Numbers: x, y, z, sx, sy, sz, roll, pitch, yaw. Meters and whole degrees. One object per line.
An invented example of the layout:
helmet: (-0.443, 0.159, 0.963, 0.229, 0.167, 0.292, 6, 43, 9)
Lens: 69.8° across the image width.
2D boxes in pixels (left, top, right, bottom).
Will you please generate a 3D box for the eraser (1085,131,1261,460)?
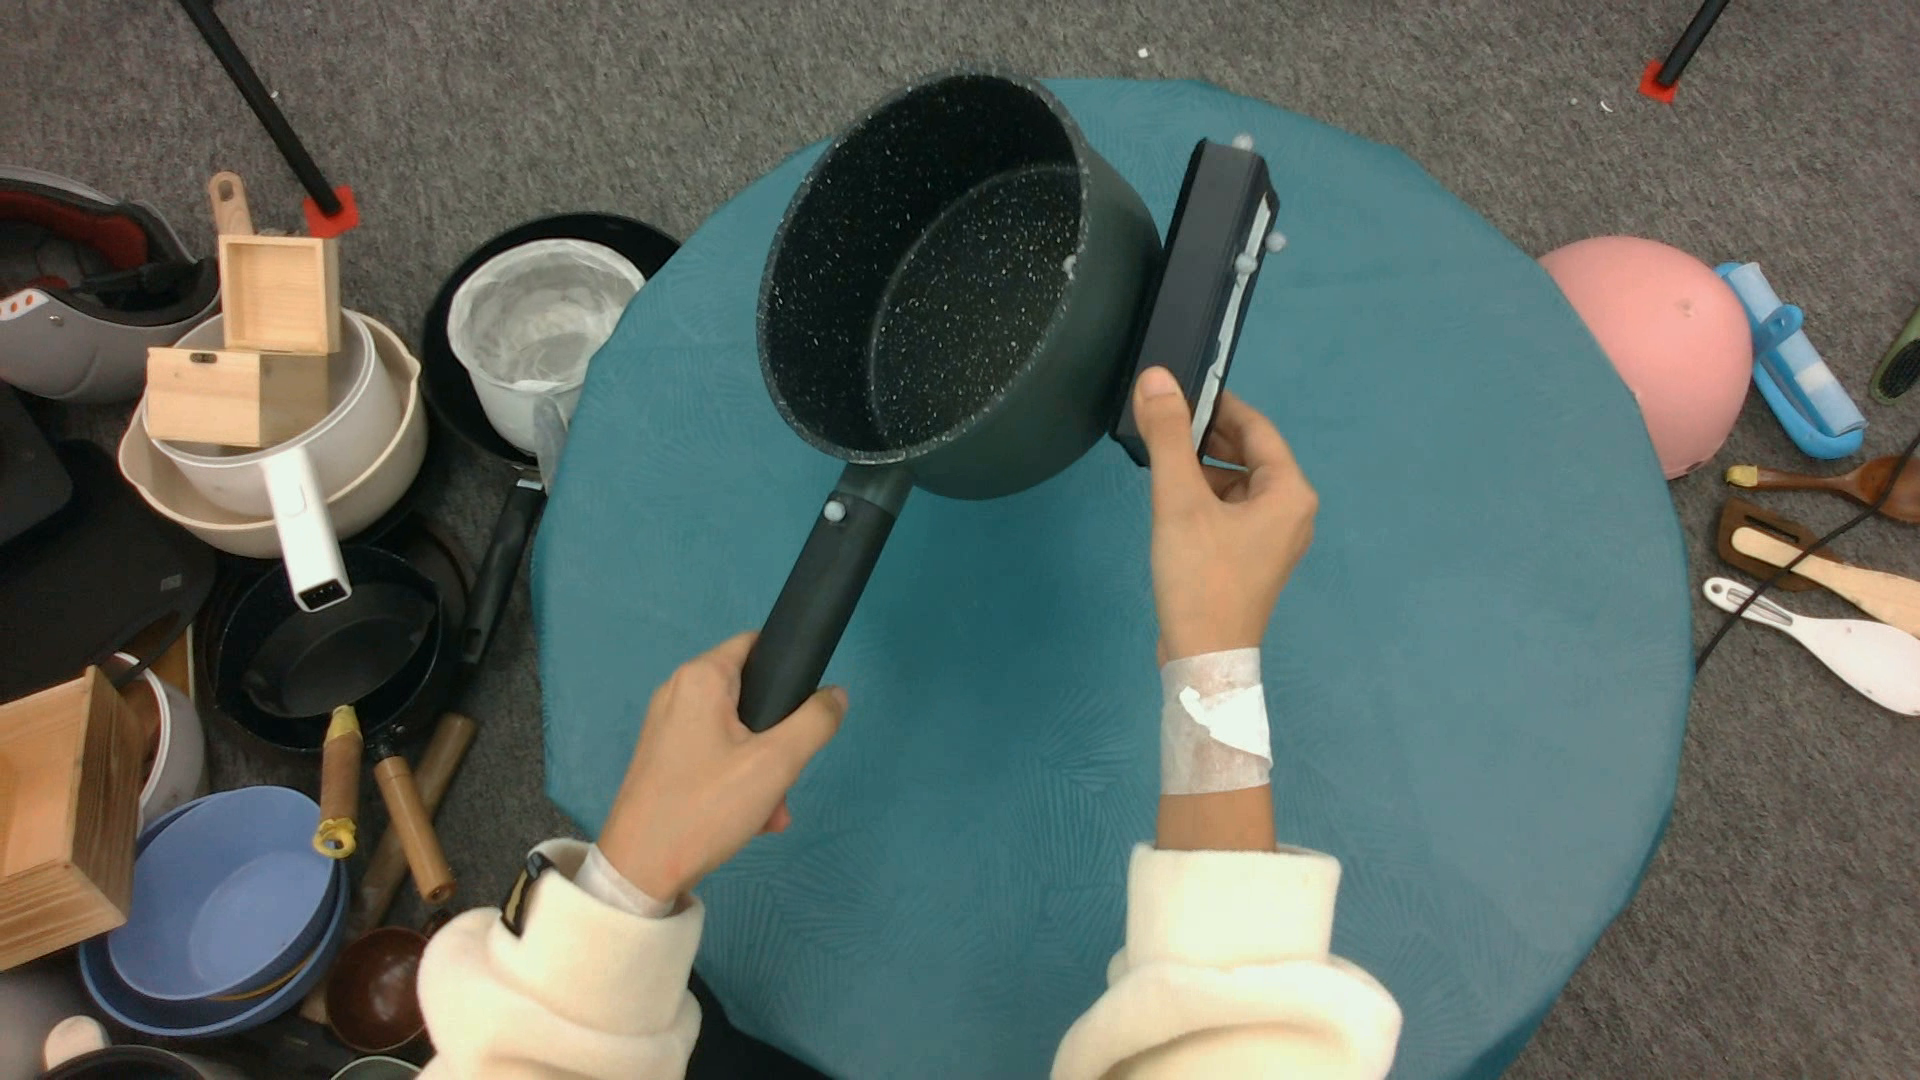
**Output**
eraser: (0.088, -0.099, 0.559, 0.030, 0.053, 0.125, 15, 84, 25)

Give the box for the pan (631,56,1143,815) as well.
pan: (-0.038, -0.037, 0.583, 0.172, 0.086, 0.329, 18, 84, 38)
